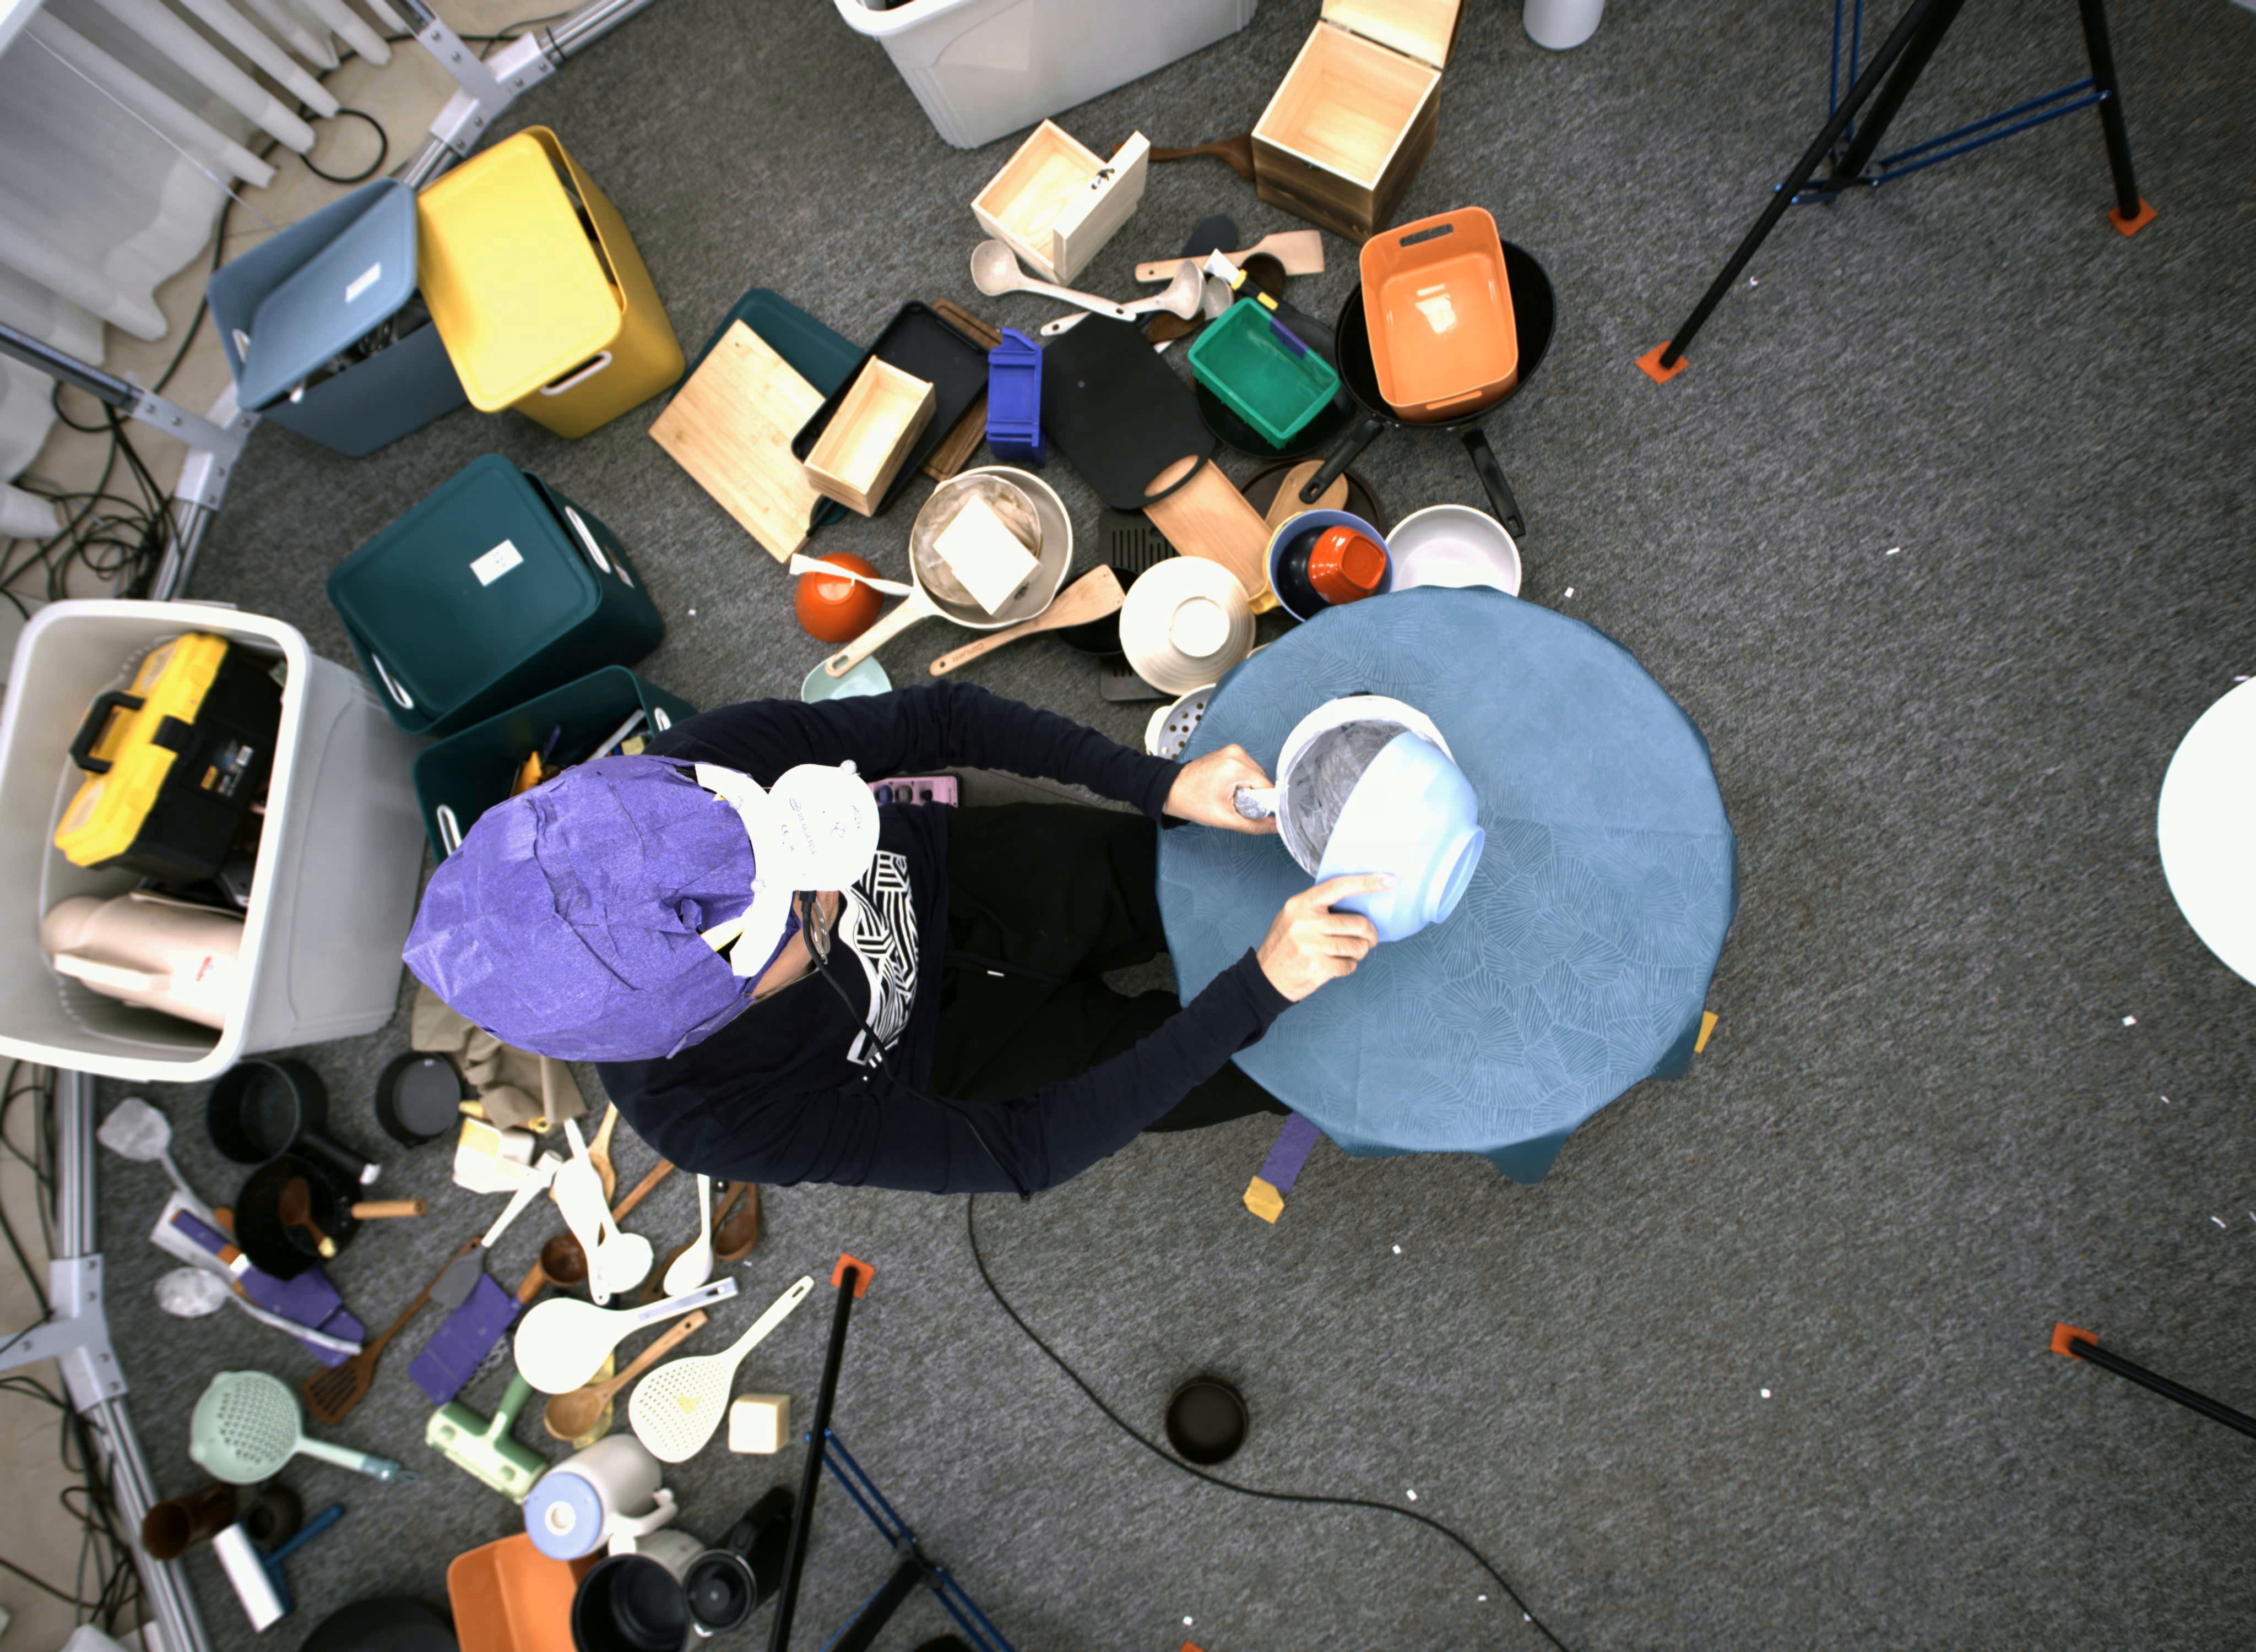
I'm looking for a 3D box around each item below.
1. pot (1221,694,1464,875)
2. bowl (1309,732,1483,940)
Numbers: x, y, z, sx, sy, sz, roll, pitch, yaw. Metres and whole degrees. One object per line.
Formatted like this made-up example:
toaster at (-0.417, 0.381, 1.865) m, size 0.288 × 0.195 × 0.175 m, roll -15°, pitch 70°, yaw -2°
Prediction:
pot at (0.207, -0.035, 1.360) m, size 0.234 × 0.135 × 0.180 m, roll -5°, pitch 103°, yaw 8°
bowl at (0.250, 0.024, 1.219) m, size 0.095 × 0.197 × 0.196 m, roll 30°, pitch 91°, yaw 22°
